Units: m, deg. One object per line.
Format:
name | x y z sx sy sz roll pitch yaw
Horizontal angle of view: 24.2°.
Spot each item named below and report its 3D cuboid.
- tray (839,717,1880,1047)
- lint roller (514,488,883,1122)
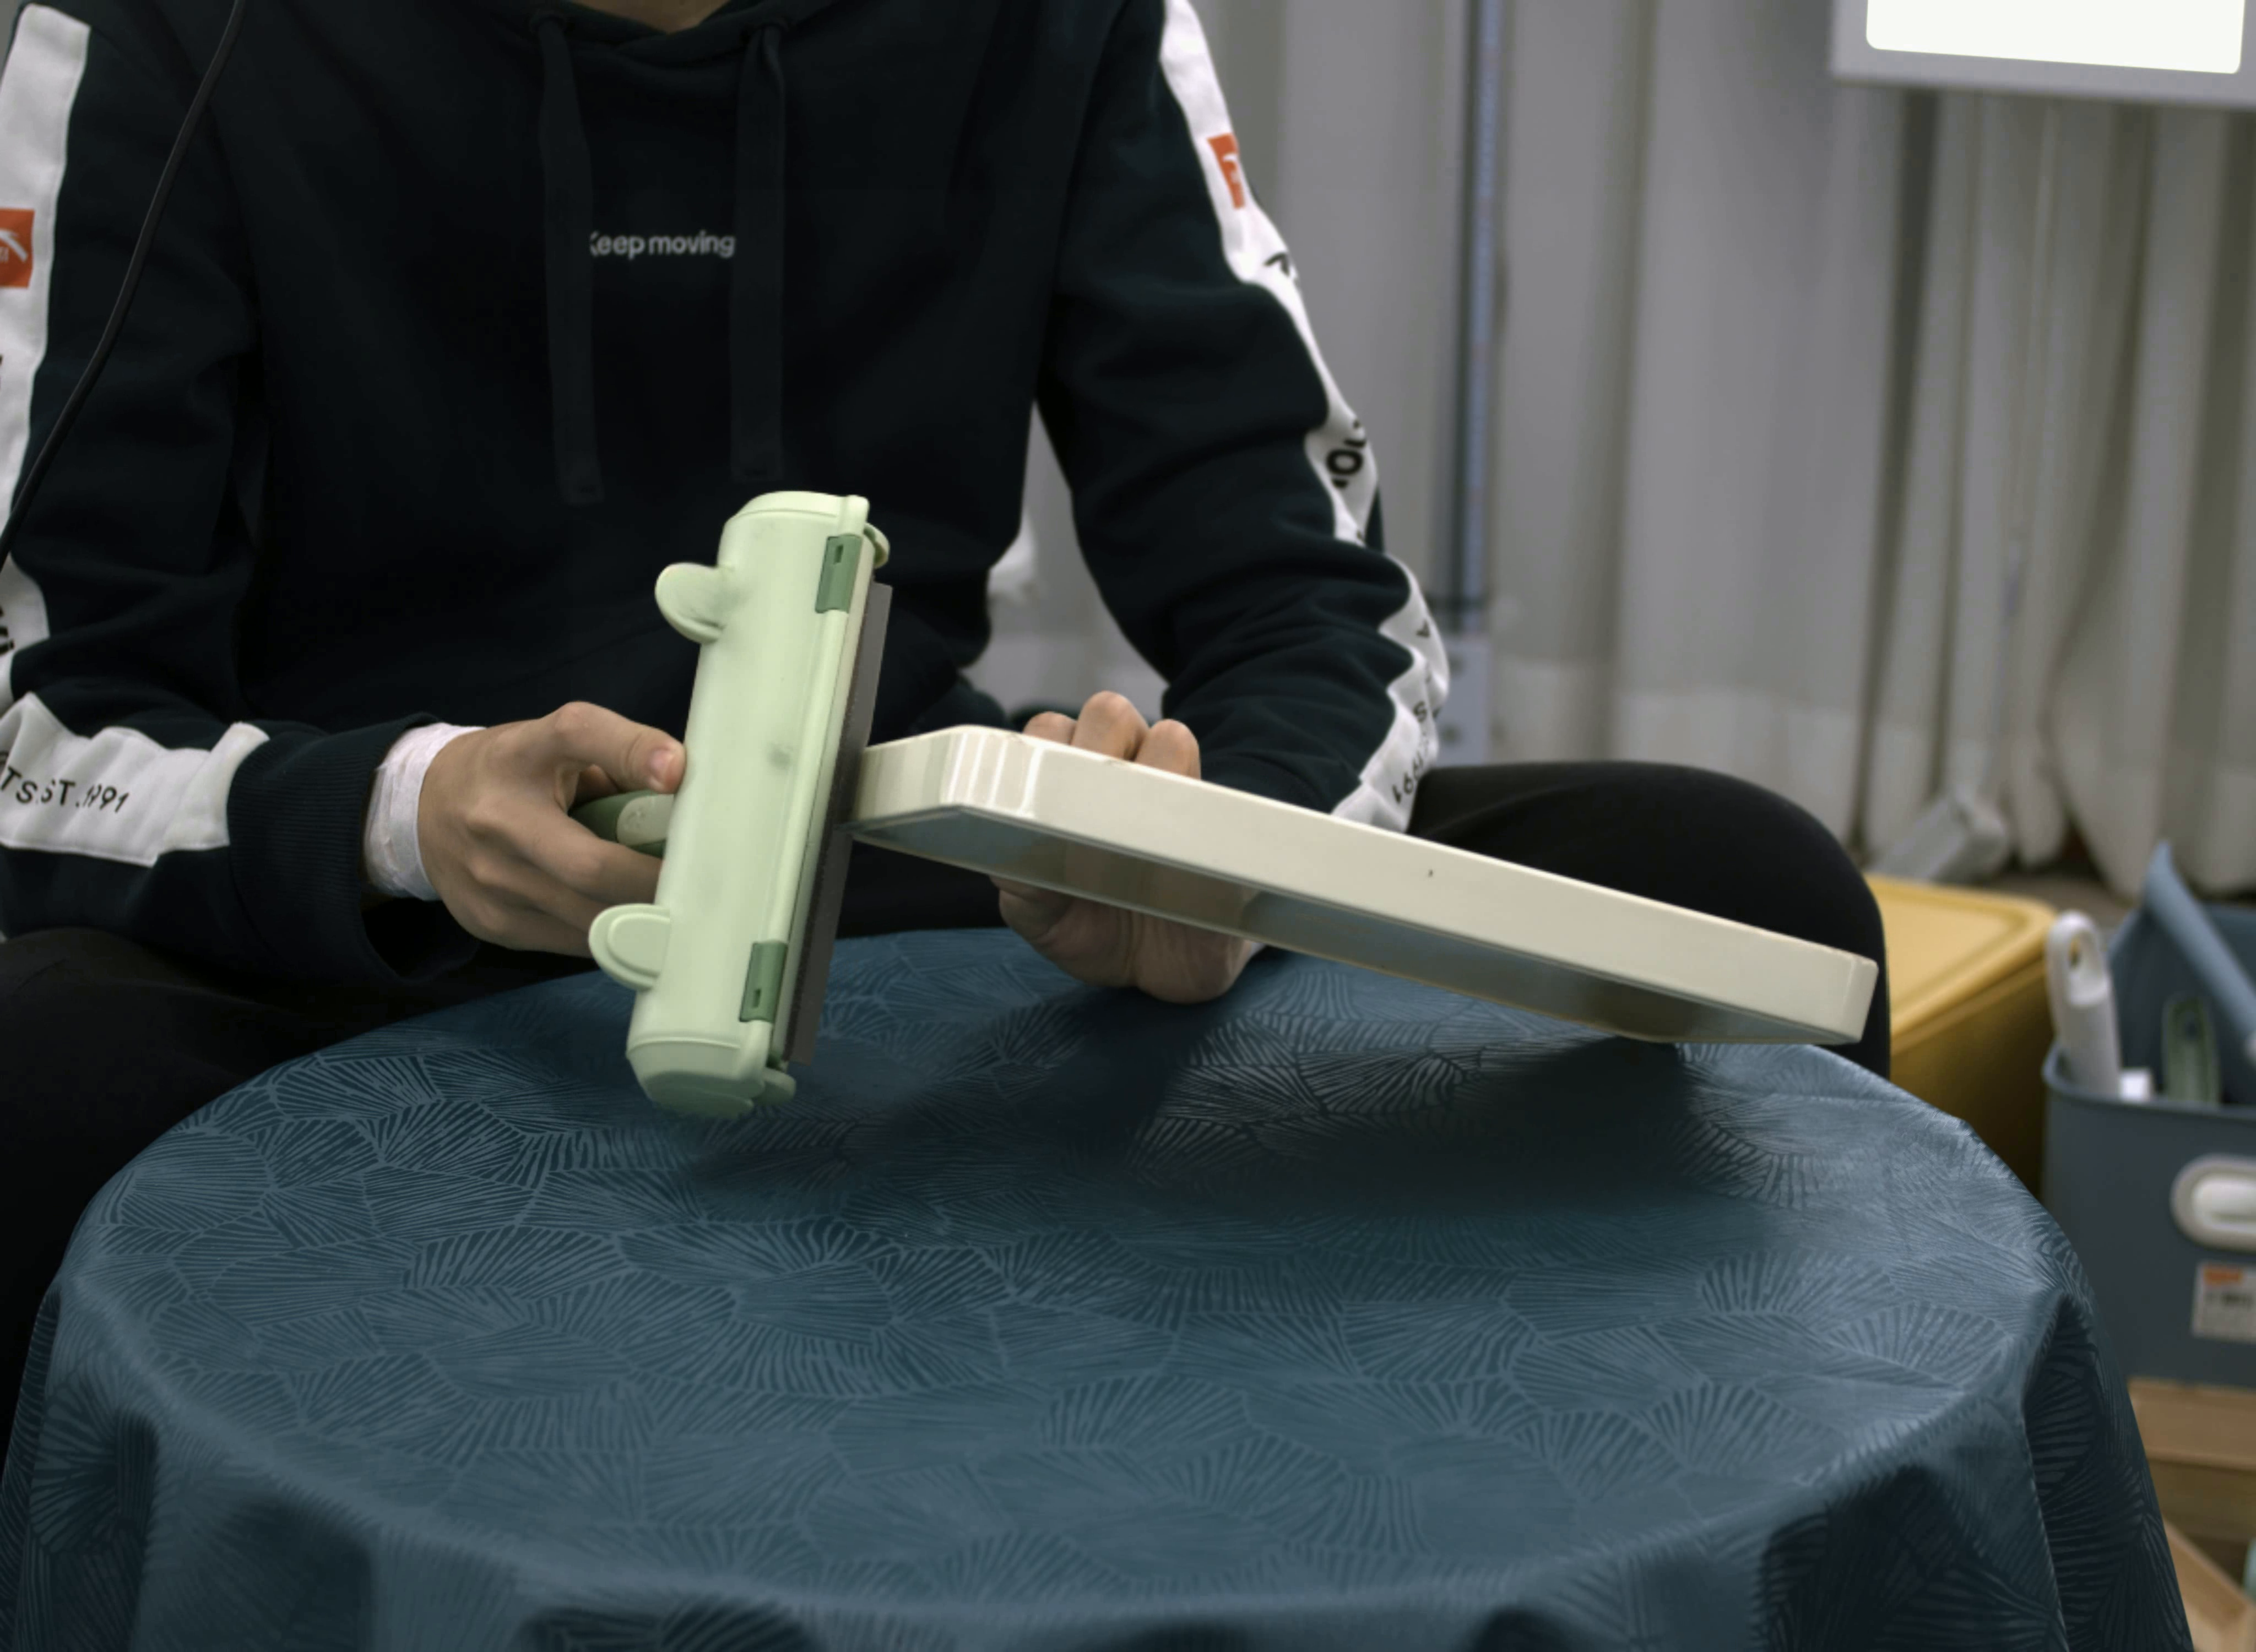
tray | 0.067 0.022 1.648 0.301 0.027 0.191 15 -7 -15
lint roller | -0.159 -0.003 1.679 0.181 0.198 0.083 -10 -24 44
